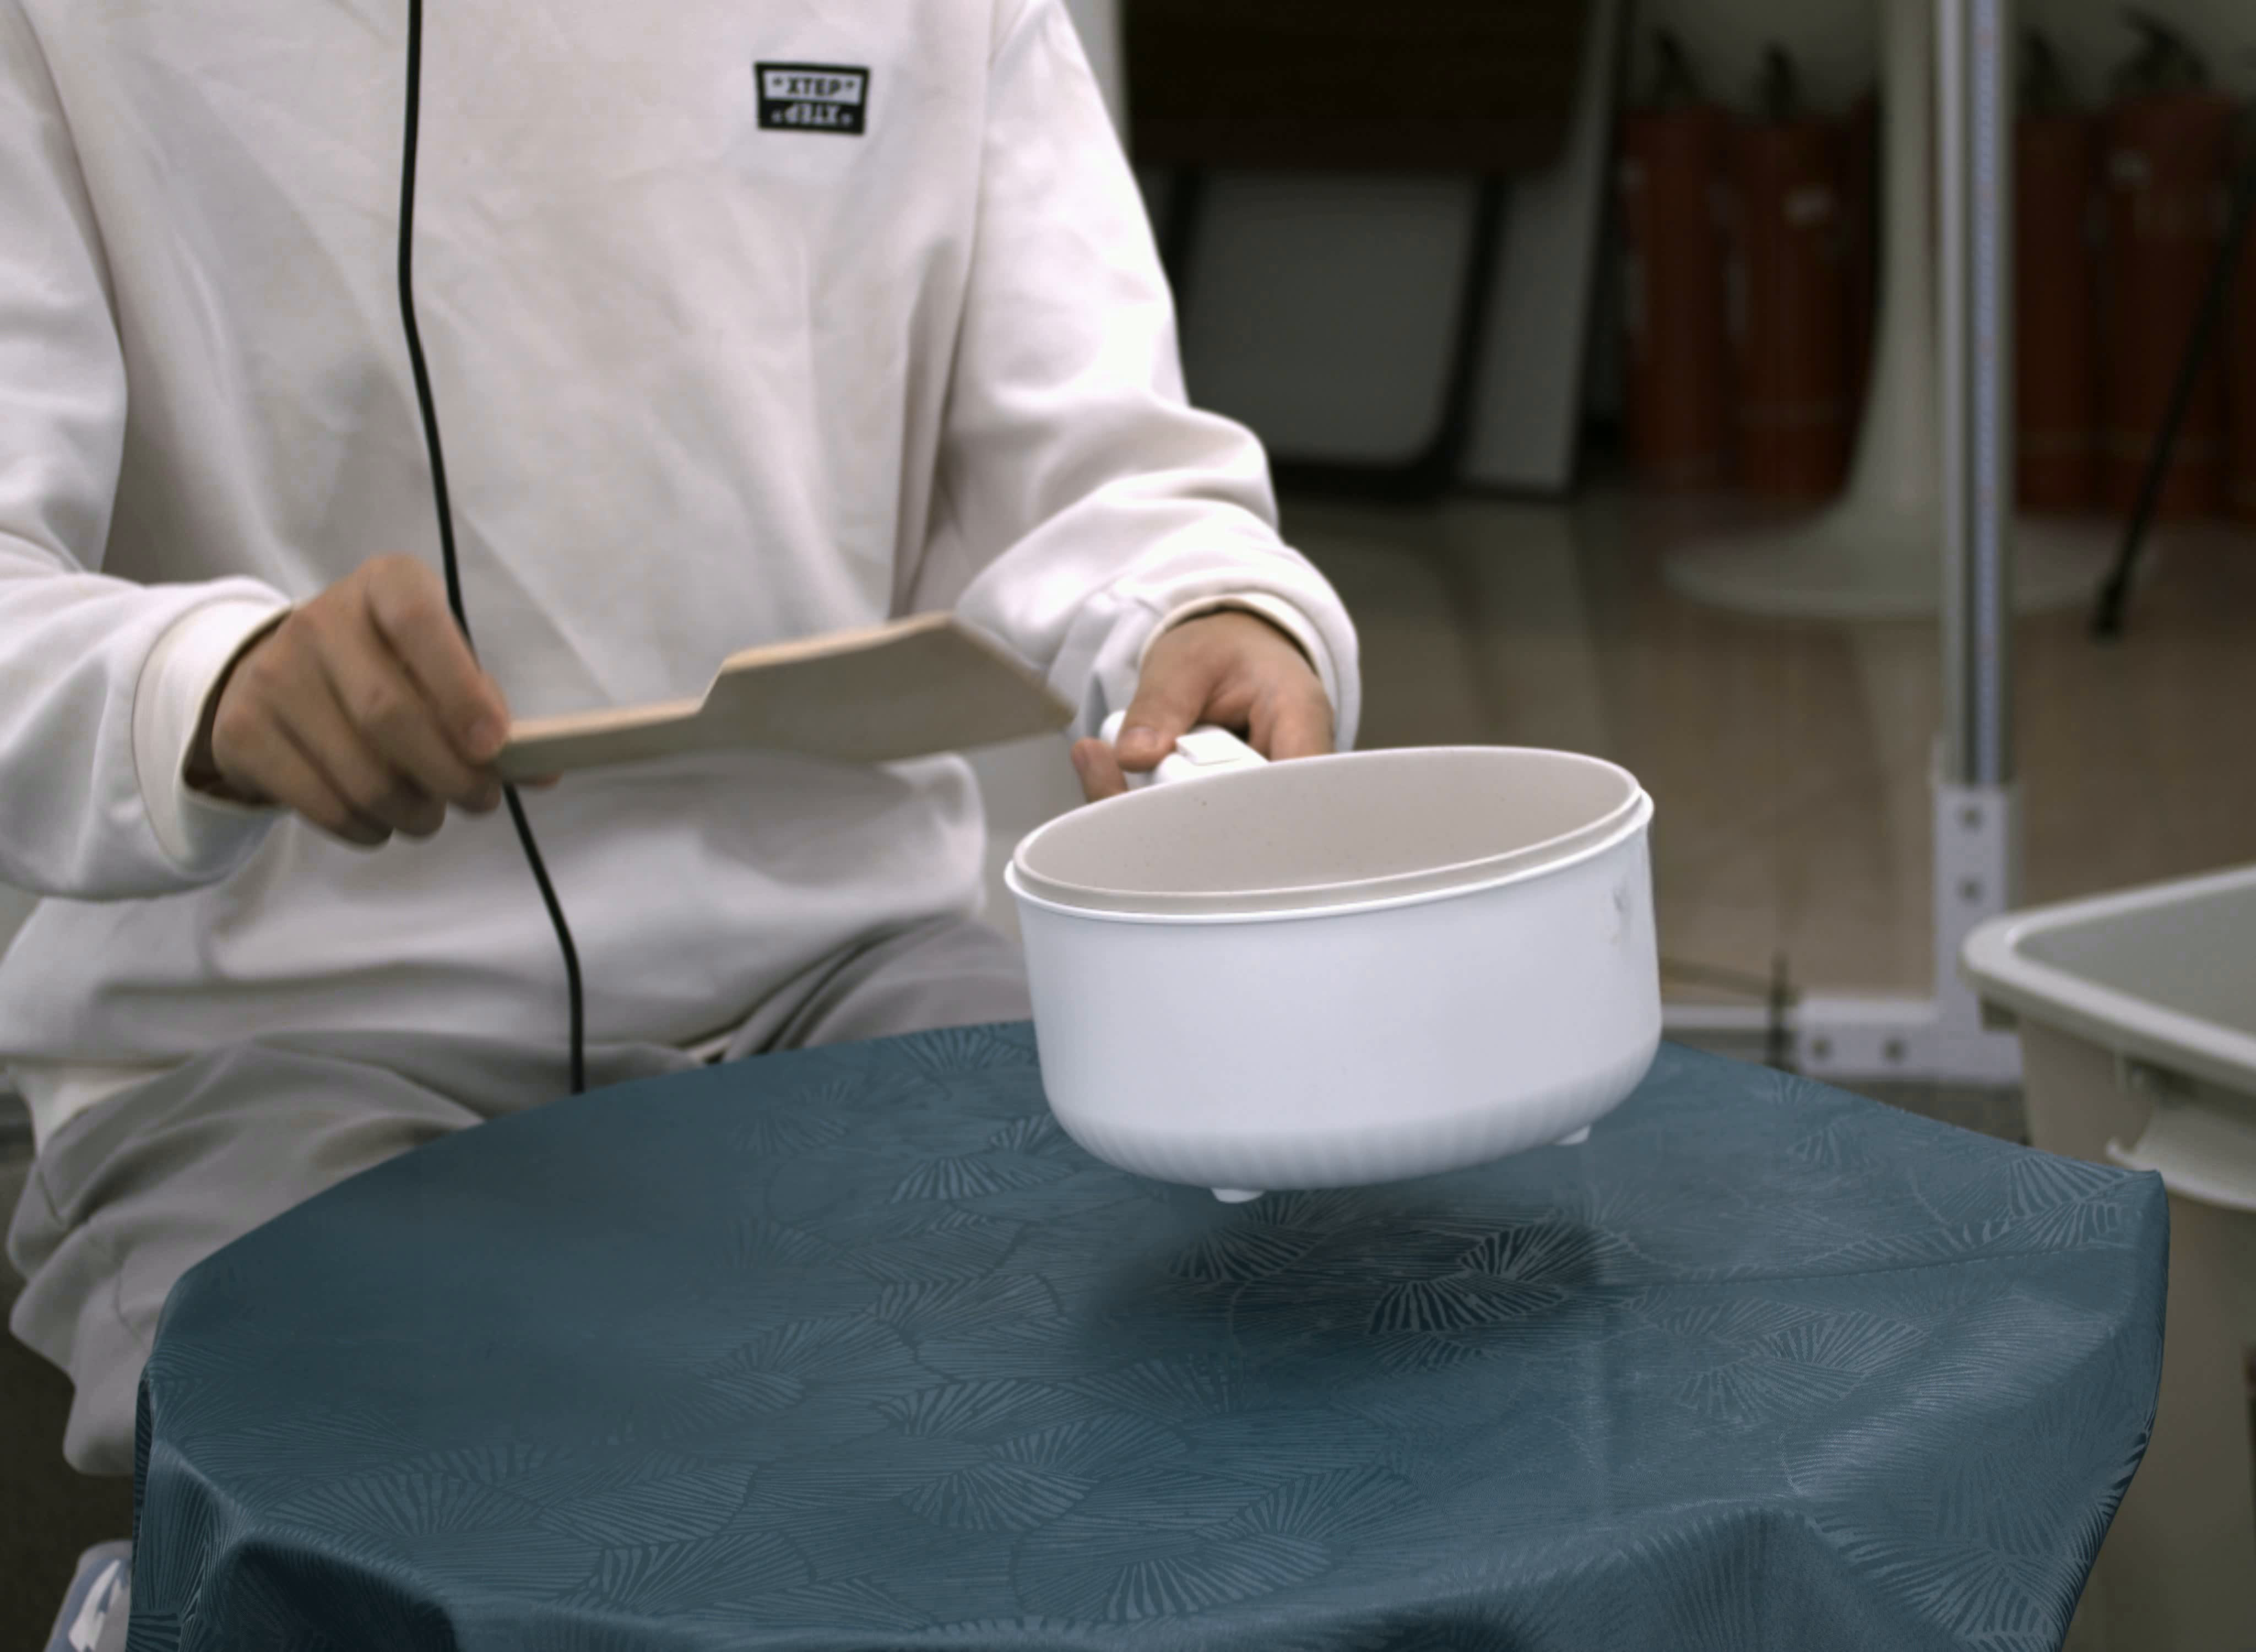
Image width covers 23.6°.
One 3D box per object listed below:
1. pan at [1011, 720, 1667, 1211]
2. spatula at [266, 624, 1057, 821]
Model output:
[{"bbox_3d":[0.052,0.037,1.733,0.198,0.103,0.357,-10,10,-10],"label":"pan"},{"bbox_3d":[-0.154,-0.025,1.639,0.295,0.011,0.071,-8,-29,37],"label":"spatula"}]
